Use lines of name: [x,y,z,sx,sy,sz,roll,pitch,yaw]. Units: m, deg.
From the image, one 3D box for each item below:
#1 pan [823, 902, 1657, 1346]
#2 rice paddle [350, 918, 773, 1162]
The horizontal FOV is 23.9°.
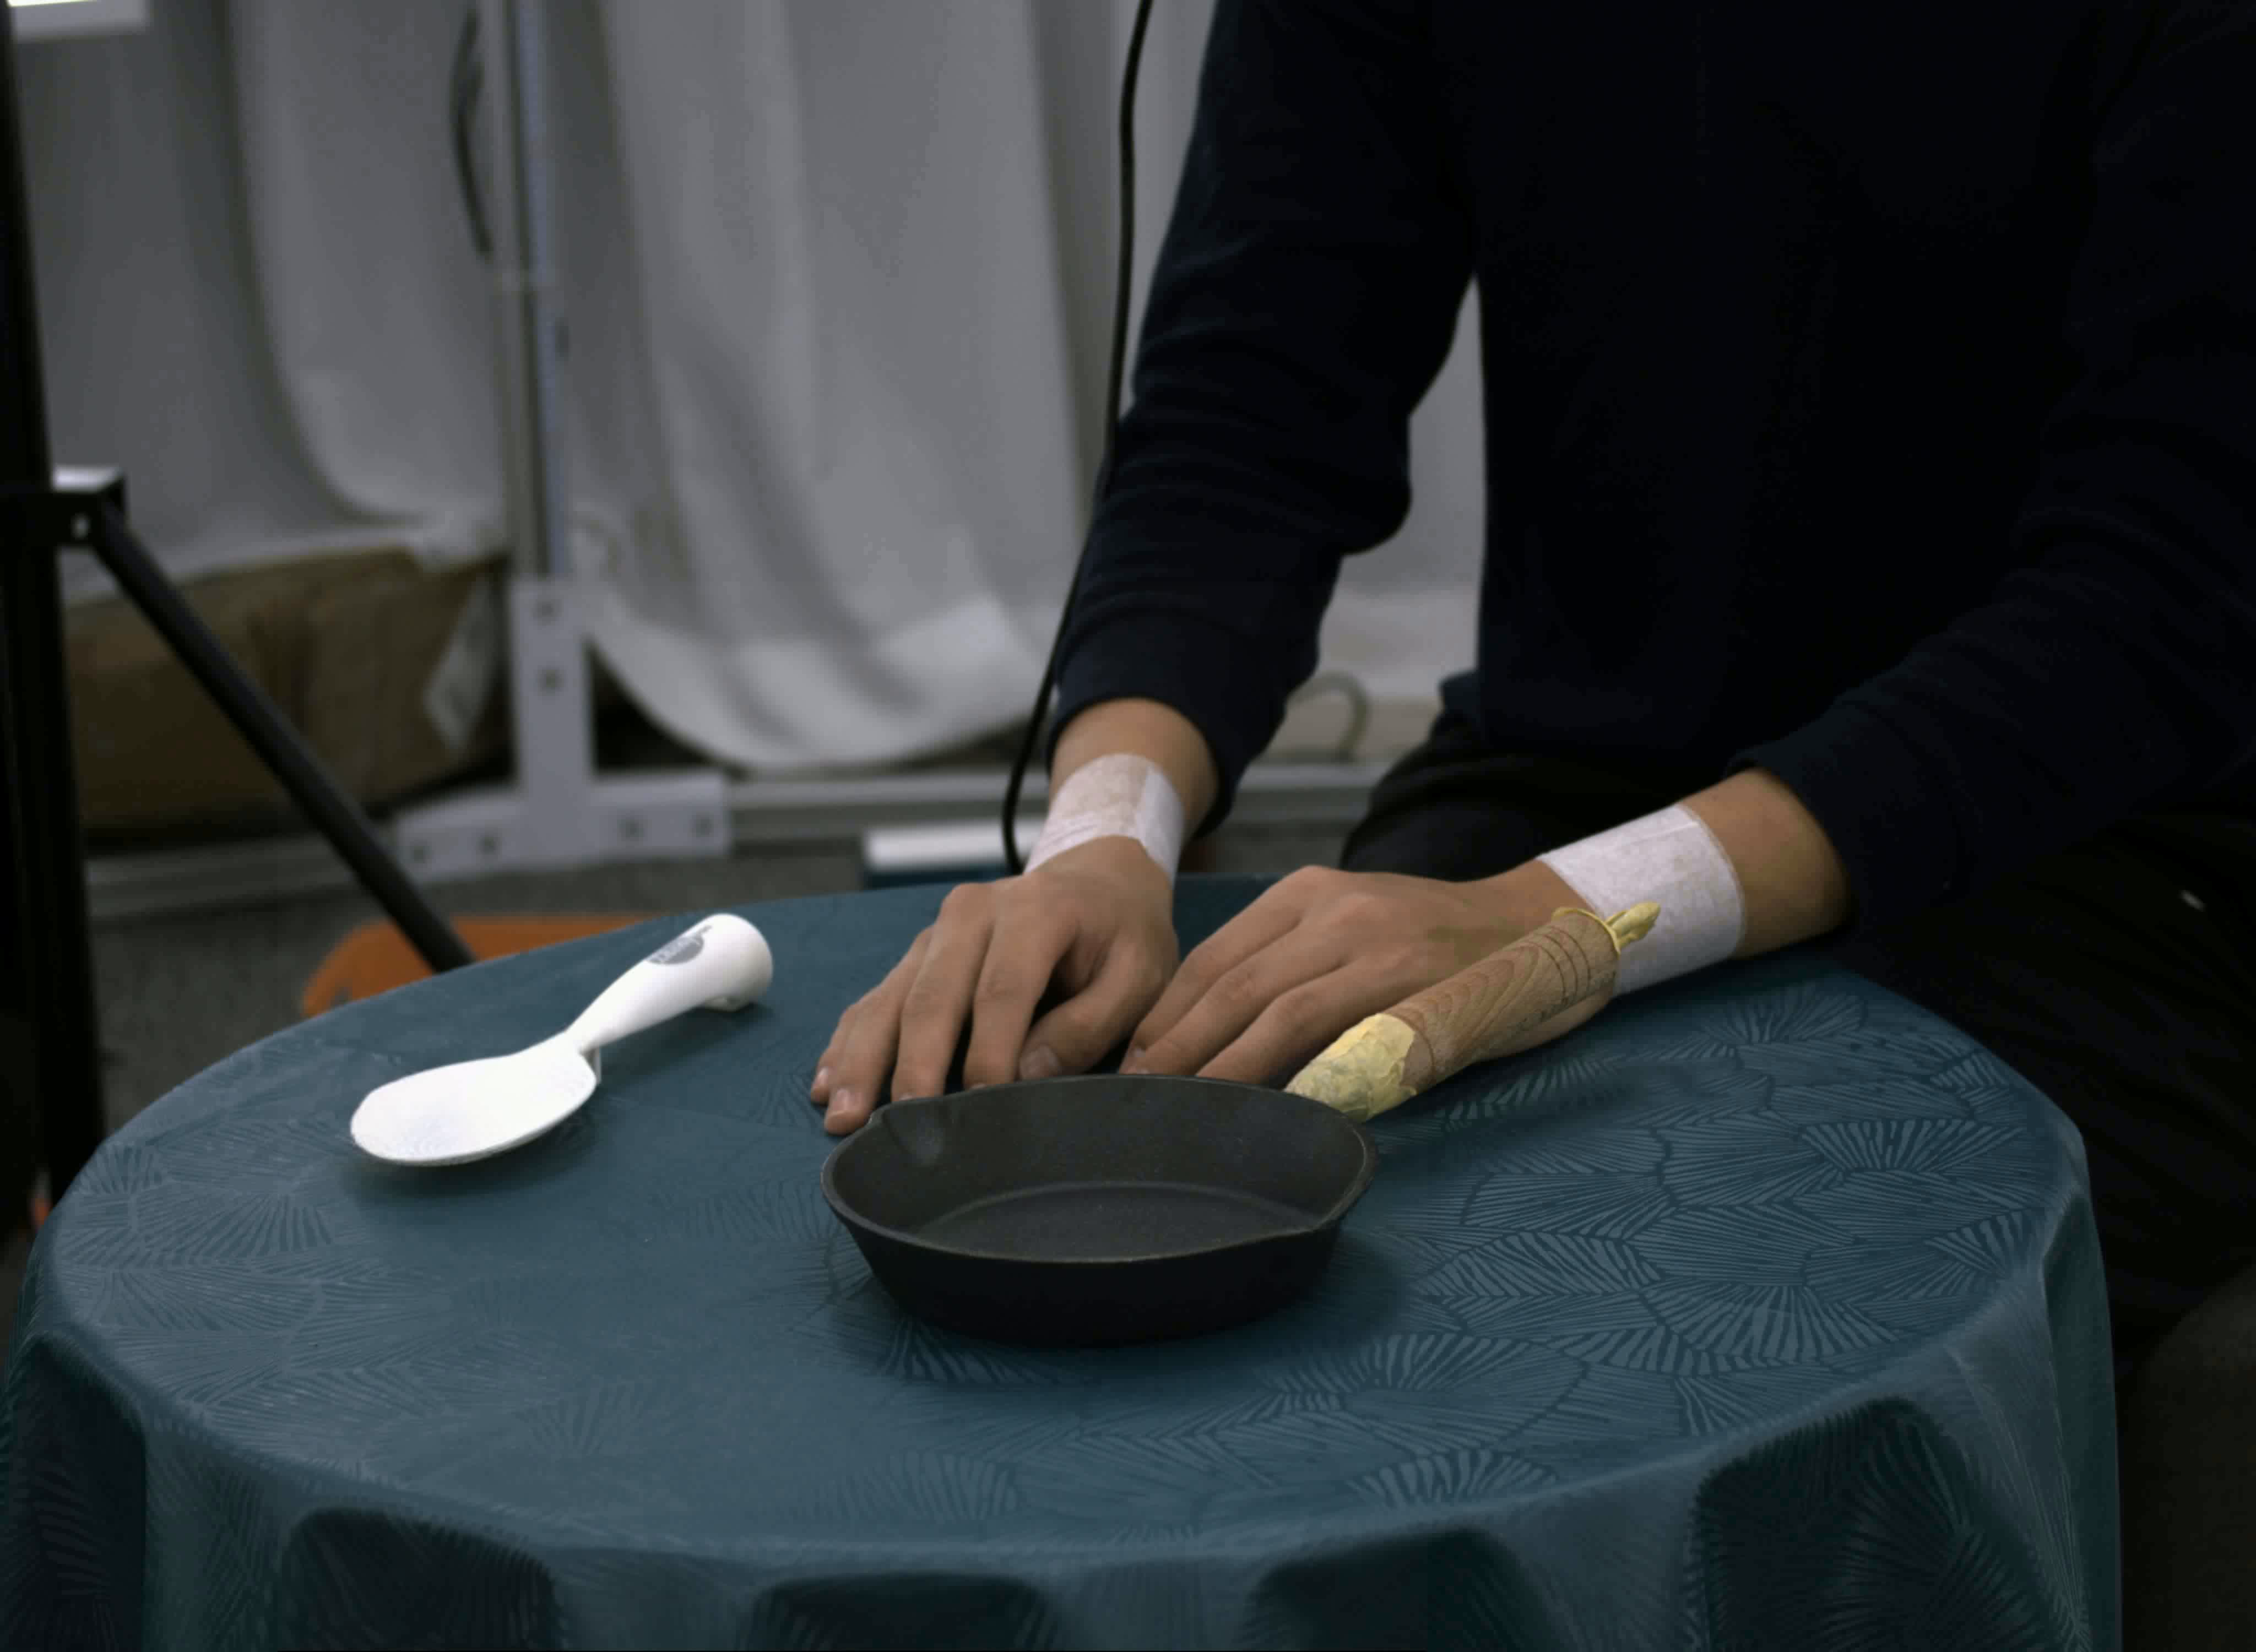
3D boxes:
pan: [0.052,0.083,1.545,0.317,0.049,0.173,-19,22,-41]
rice paddle: [-0.173,0.070,1.670,0.070,0.029,0.202,3,16,26]
